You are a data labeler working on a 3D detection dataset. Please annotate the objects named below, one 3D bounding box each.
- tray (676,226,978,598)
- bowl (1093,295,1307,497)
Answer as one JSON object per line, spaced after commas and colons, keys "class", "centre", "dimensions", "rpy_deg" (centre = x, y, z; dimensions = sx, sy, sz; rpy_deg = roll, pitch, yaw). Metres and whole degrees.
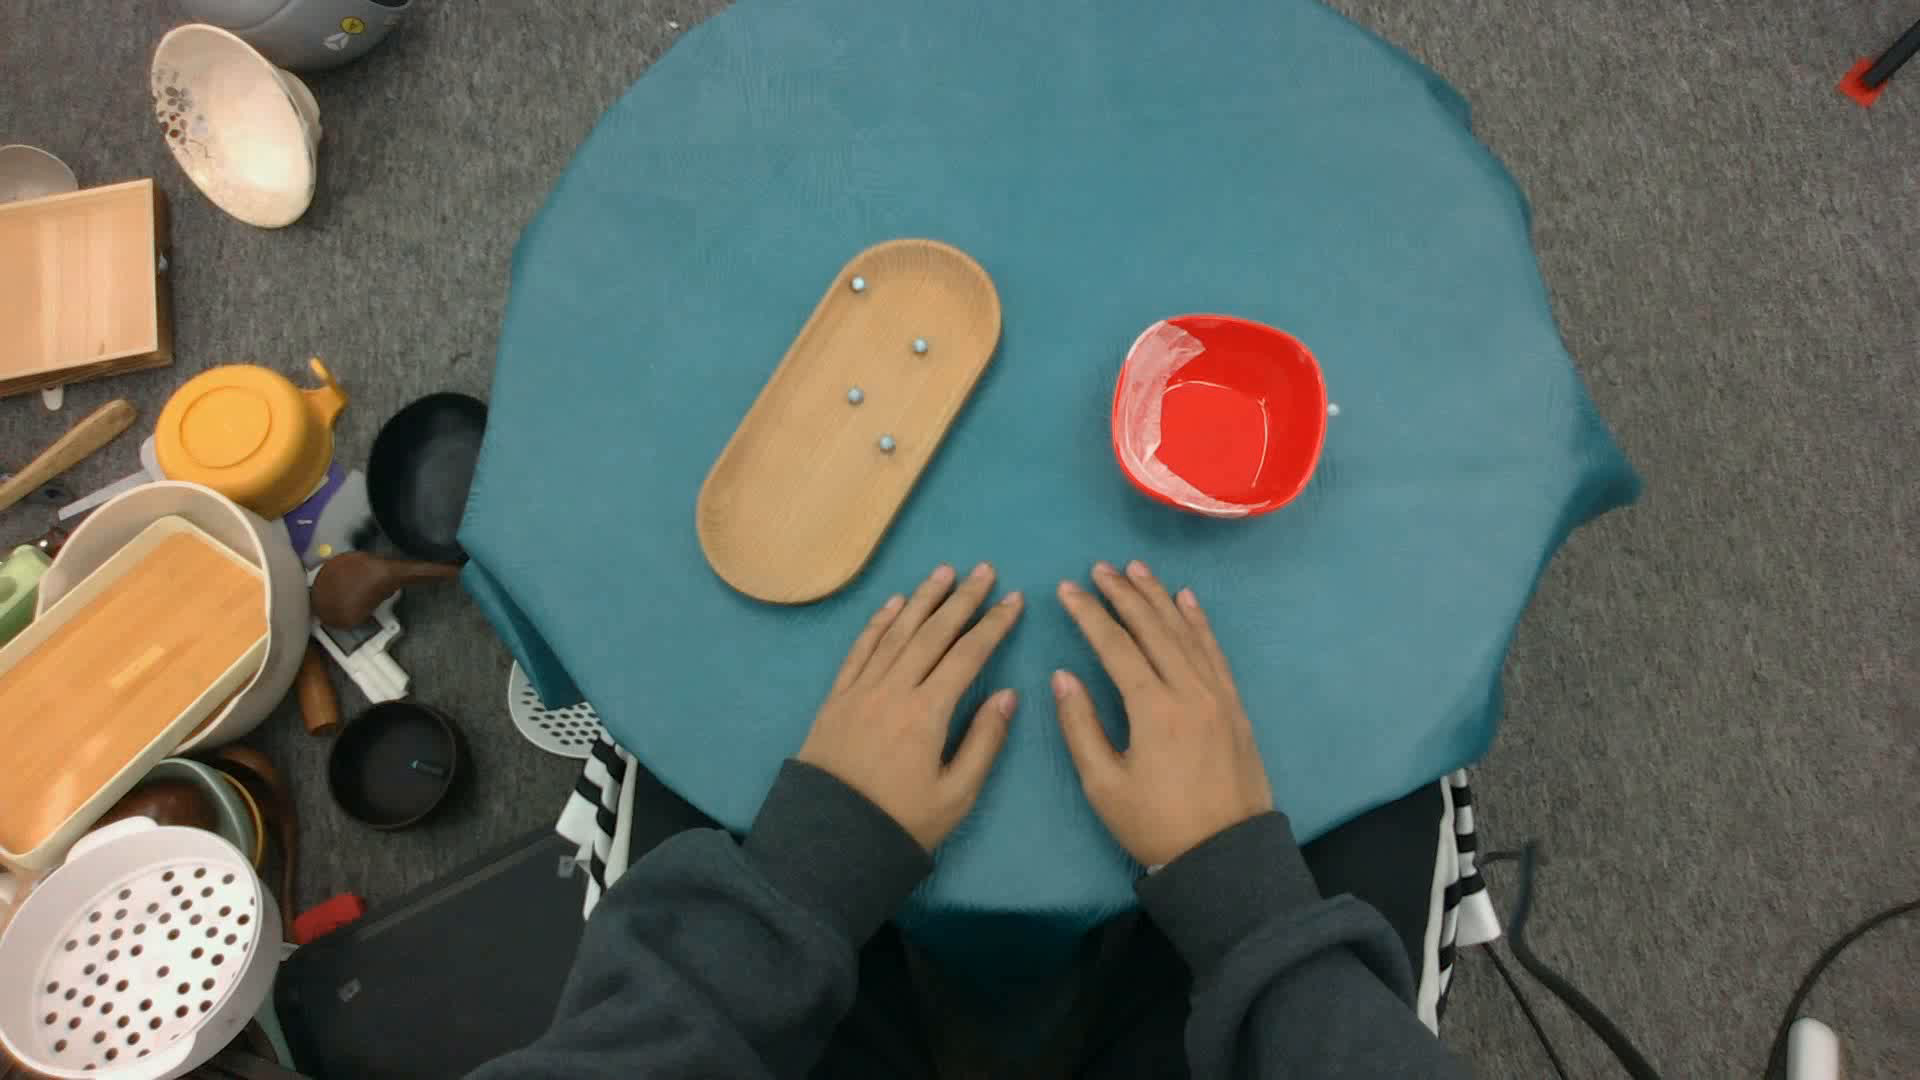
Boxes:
{"class": "tray", "centre": [-0.071, -0.073, 0.758], "dimensions": [0.101, 0.020, 0.232], "rpy_deg": [26, 77, 9]}
{"class": "bowl", "centre": [0.125, -0.070, 0.736], "dimensions": [0.119, 0.051, 0.119], "rpy_deg": [0, 72, 0]}
